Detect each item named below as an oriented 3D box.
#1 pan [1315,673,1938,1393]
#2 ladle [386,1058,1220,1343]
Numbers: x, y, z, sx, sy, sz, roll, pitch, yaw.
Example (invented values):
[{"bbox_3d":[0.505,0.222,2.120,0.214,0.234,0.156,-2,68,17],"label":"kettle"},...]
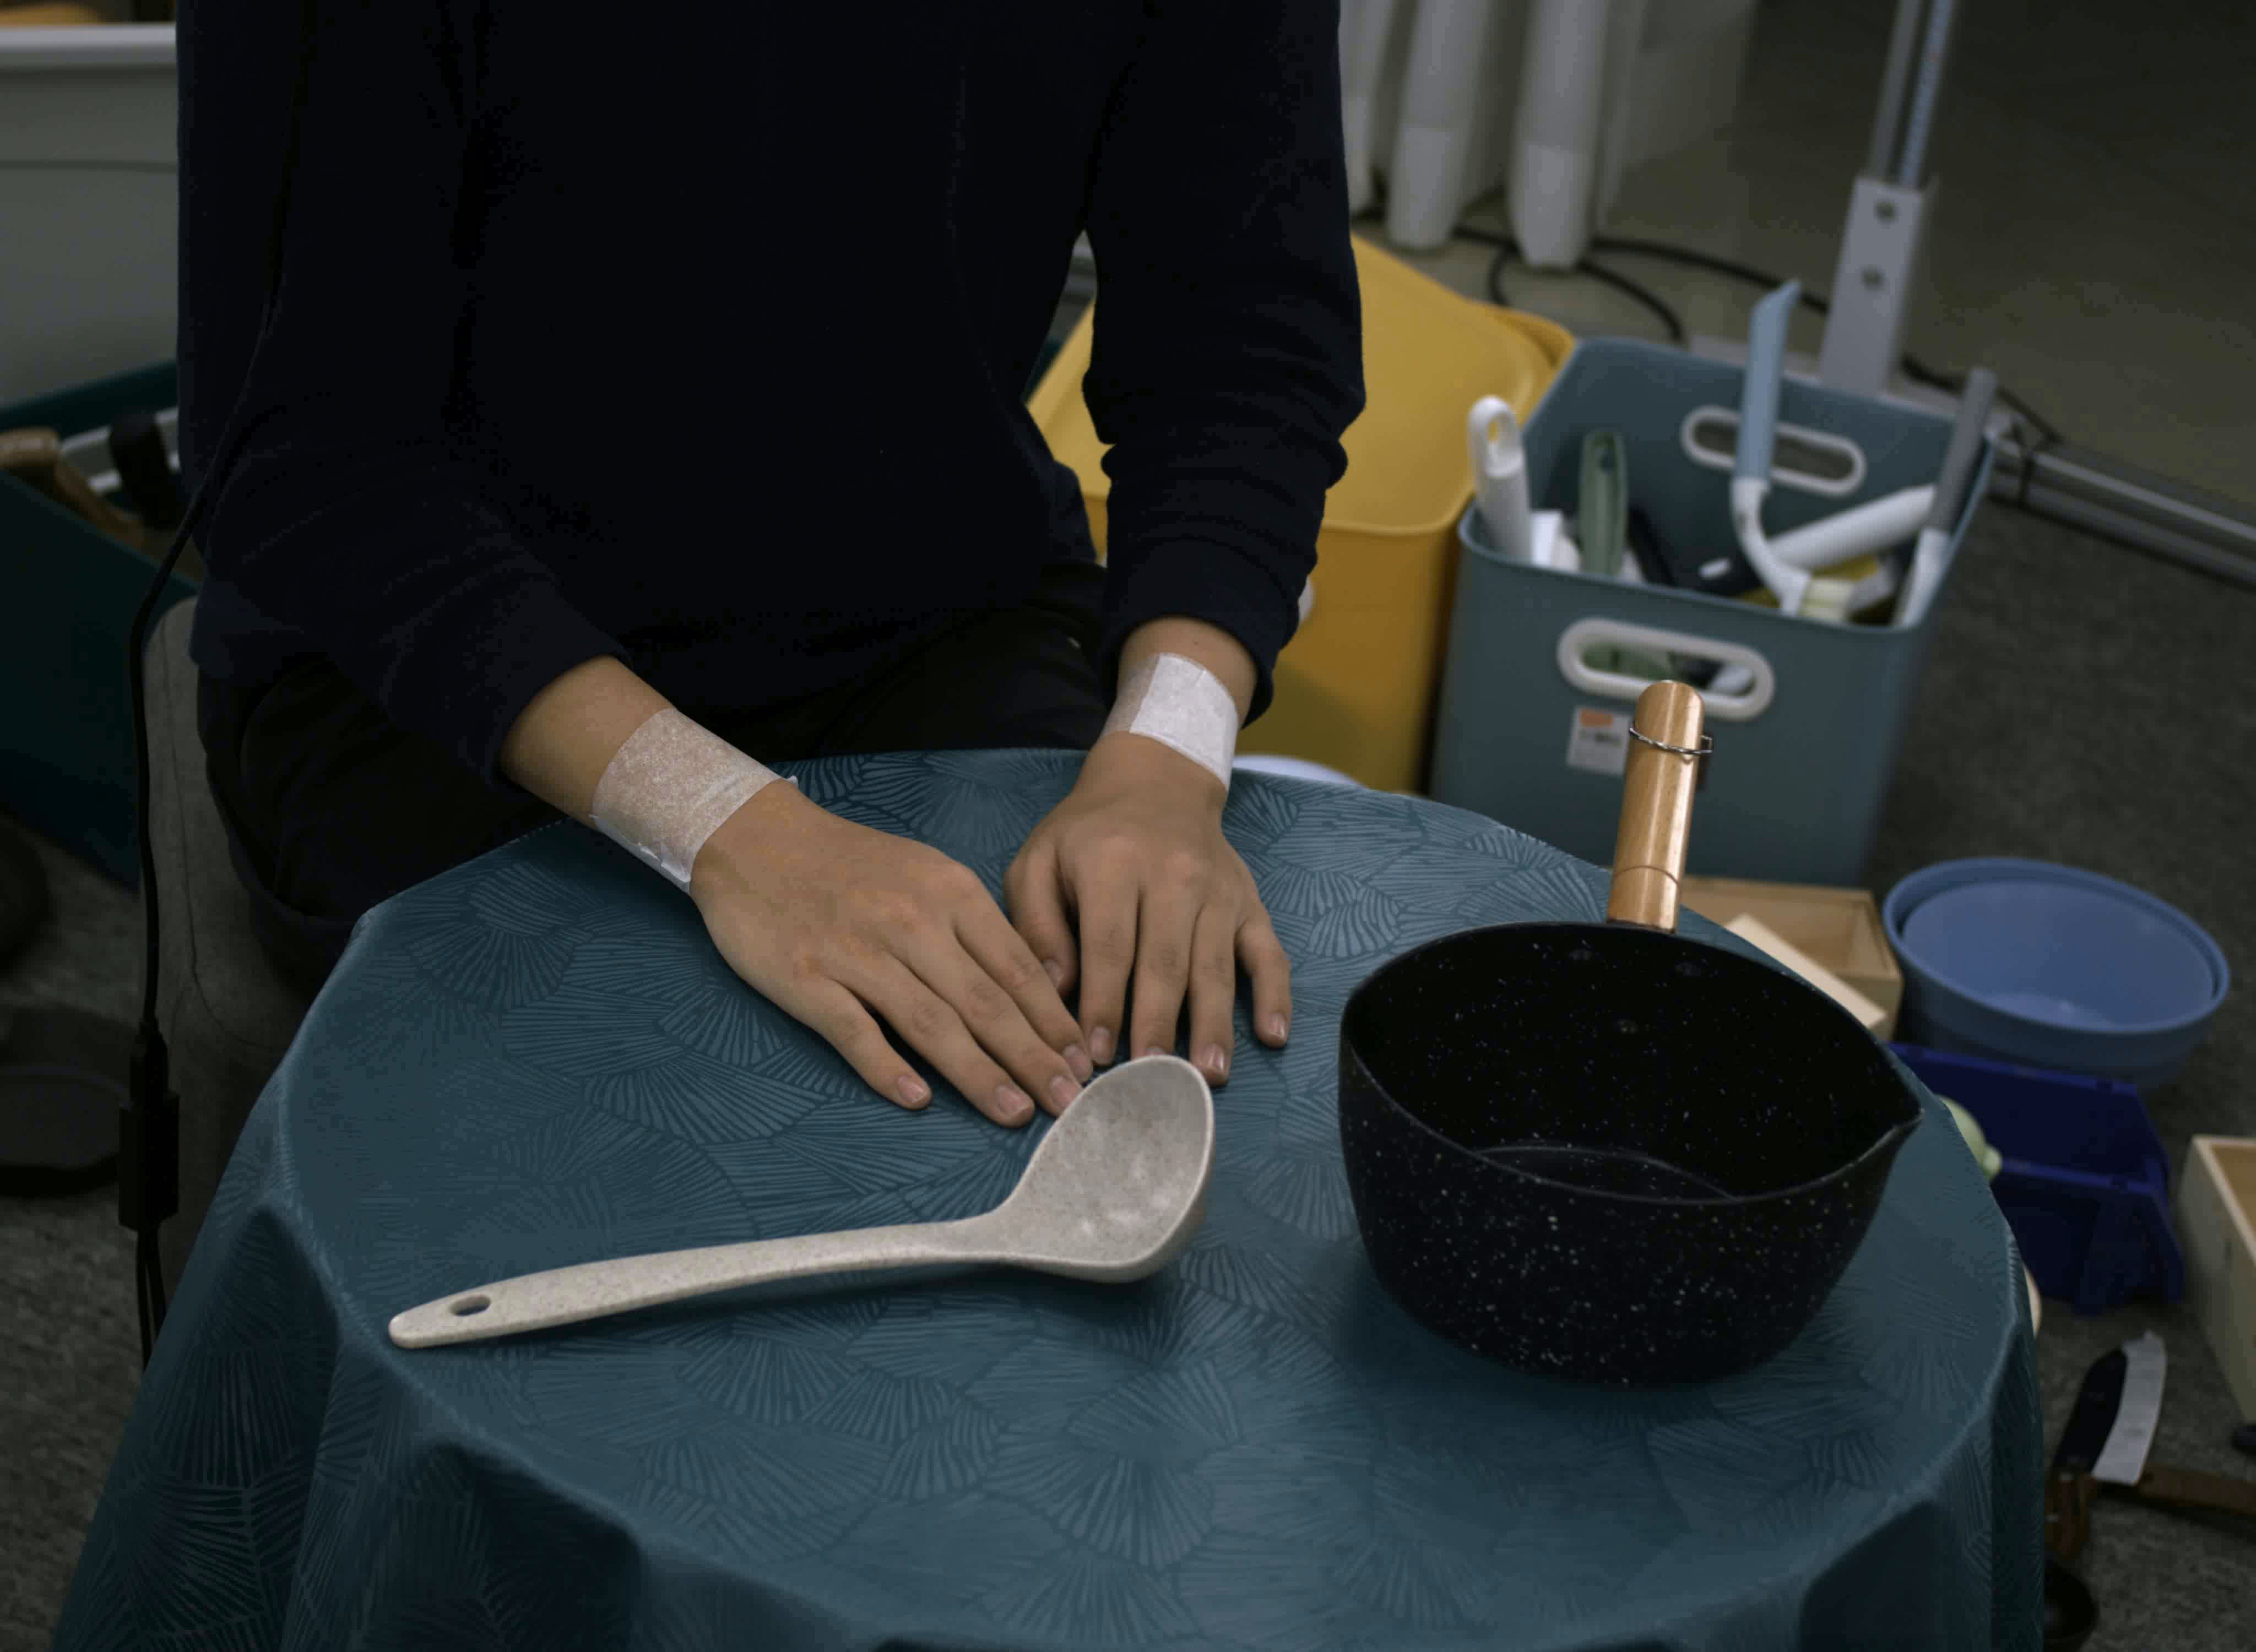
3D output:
[{"bbox_3d":[0.170,0.066,1.834,0.207,0.108,0.344,8,28,4],"label":"pan"},{"bbox_3d":[-0.102,0.121,1.708,0.273,0.069,0.090,-4,32,-21],"label":"ladle"}]
